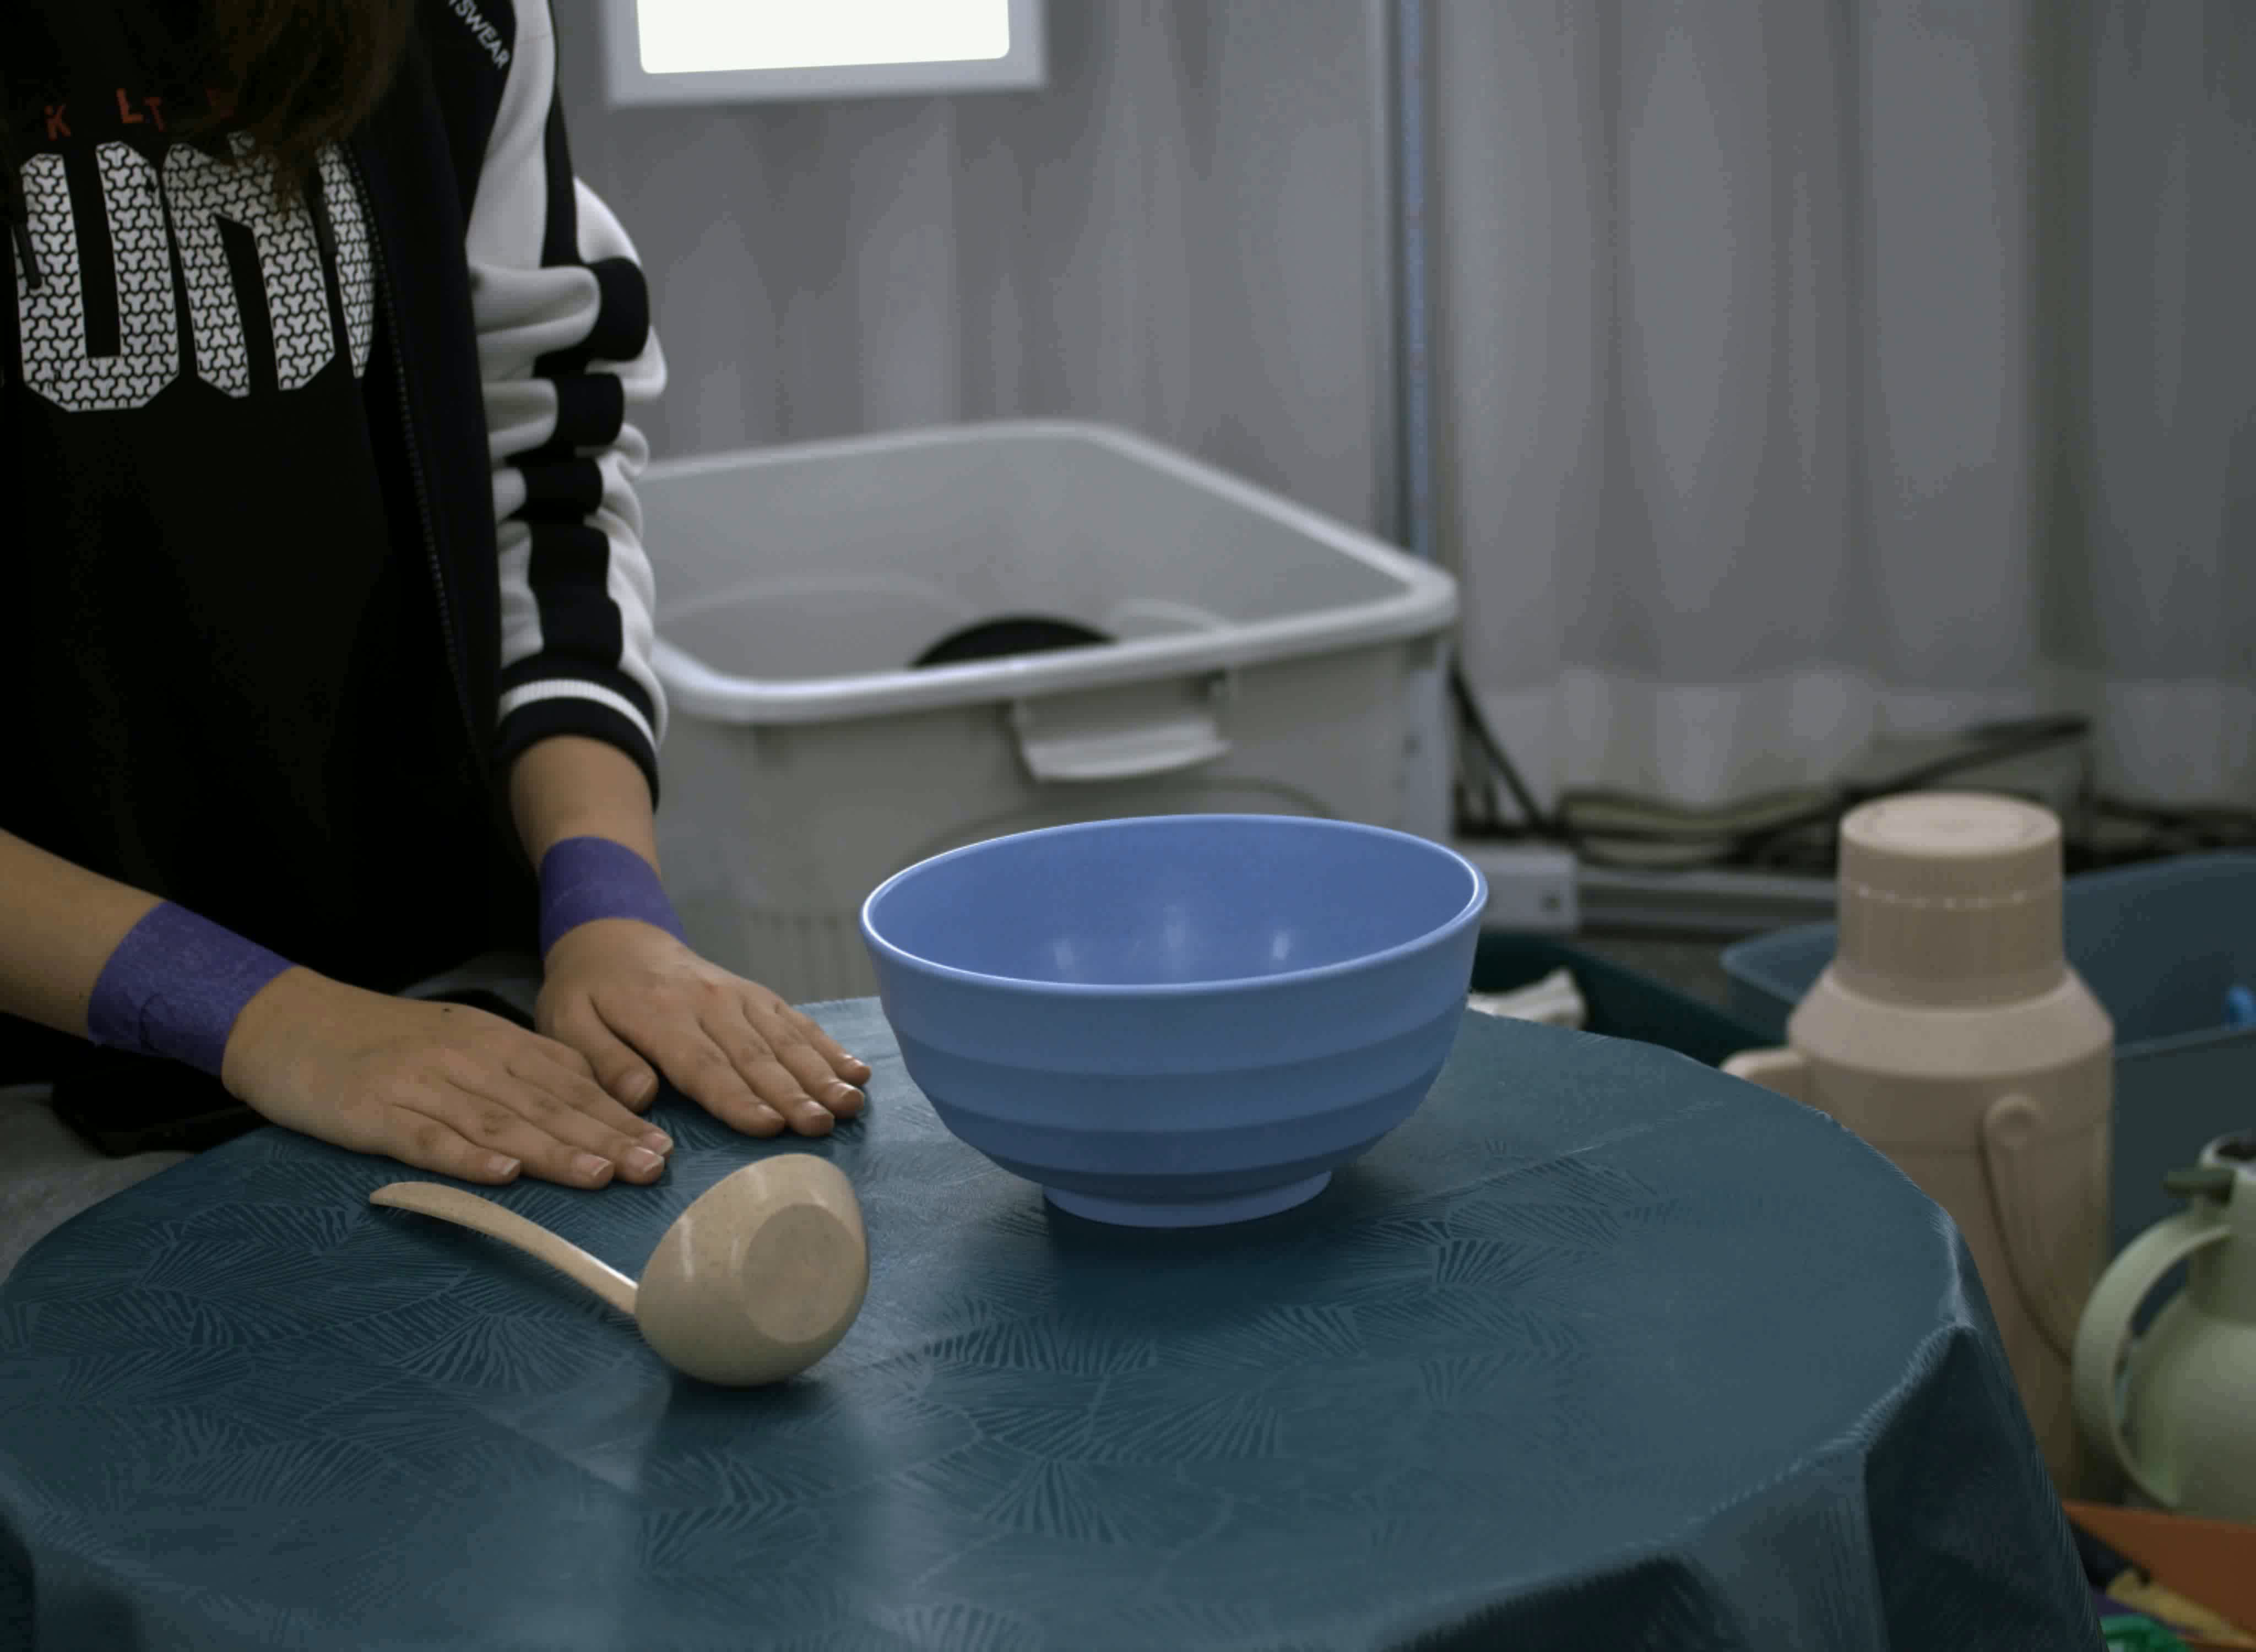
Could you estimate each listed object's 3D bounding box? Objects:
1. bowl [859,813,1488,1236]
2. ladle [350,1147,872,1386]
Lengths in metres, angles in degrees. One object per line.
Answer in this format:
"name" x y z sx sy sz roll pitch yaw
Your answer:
"bowl" 0.016 0.068 1.710 0.196 0.095 0.198 -3 15 0
"ladle" -0.167 0.107 1.634 0.072 0.072 0.256 -12 17 -36
